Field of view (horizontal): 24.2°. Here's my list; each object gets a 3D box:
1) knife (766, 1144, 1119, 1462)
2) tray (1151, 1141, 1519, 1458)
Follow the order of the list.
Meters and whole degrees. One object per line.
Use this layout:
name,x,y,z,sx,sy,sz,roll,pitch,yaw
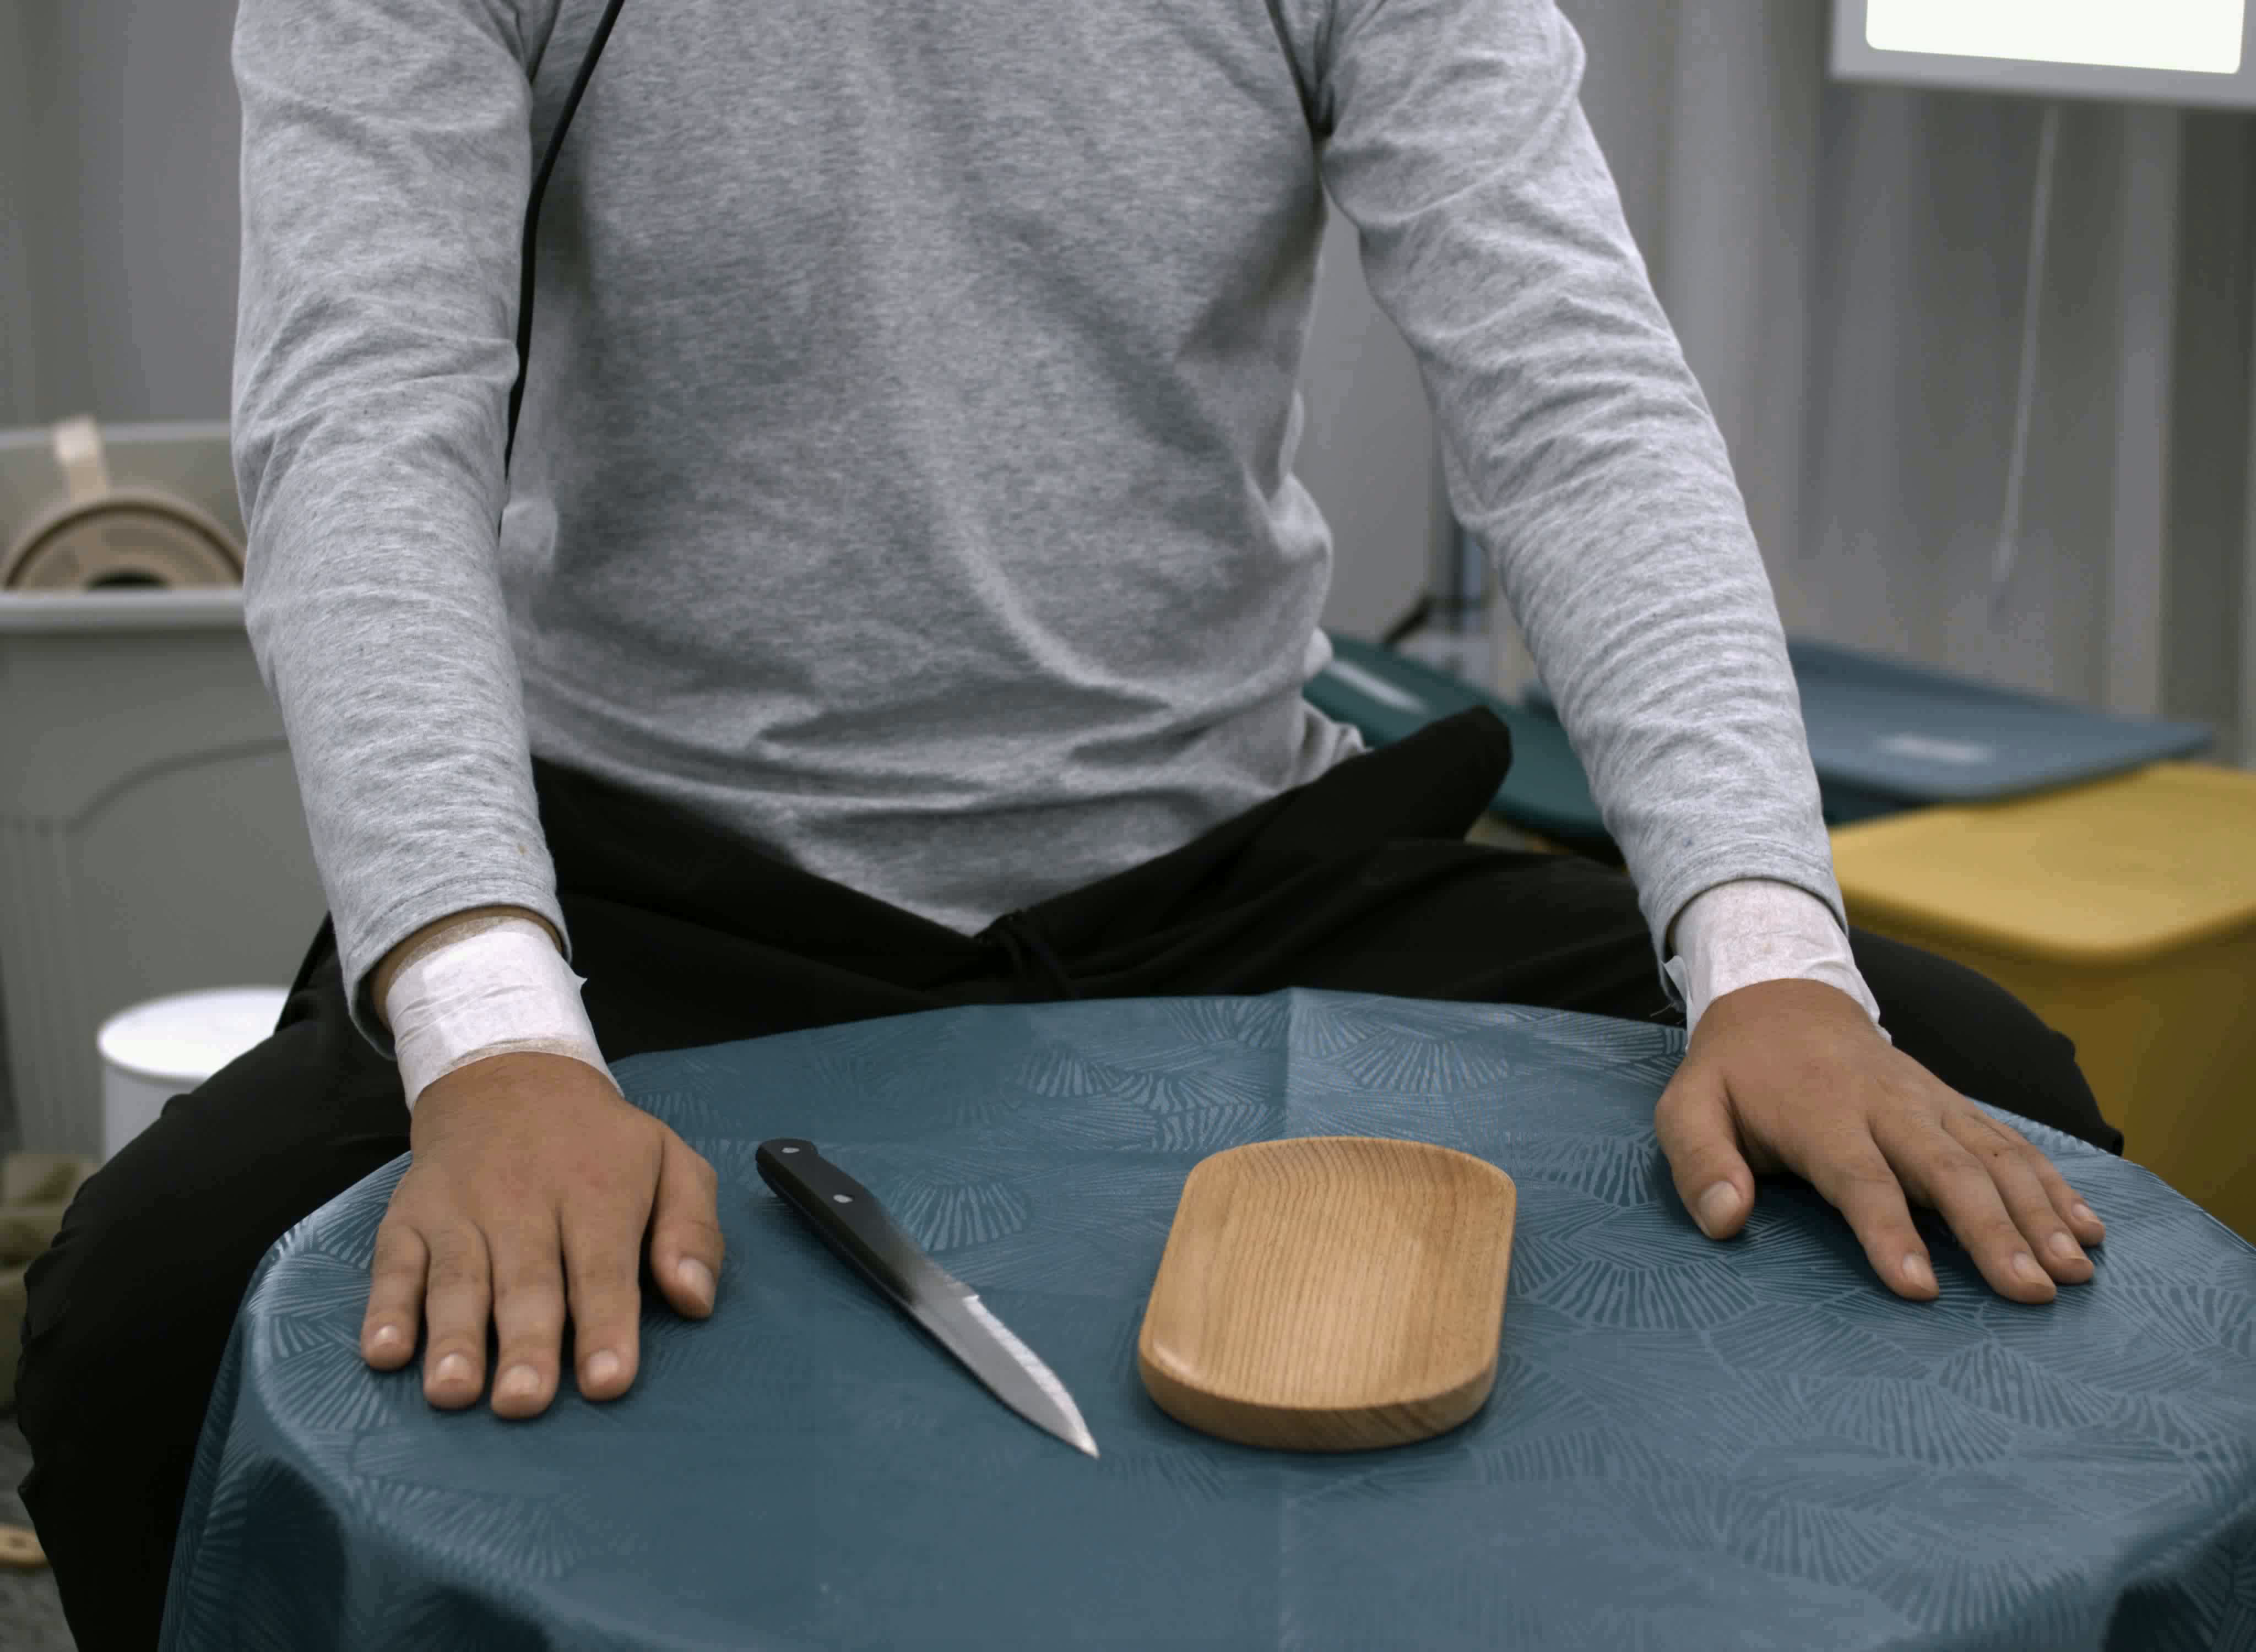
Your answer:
knife,-0.056,0.137,1.514,0.024,0.016,0.235,-5,19,-25
tray,0.062,0.134,1.521,0.101,0.020,0.230,0,16,4
